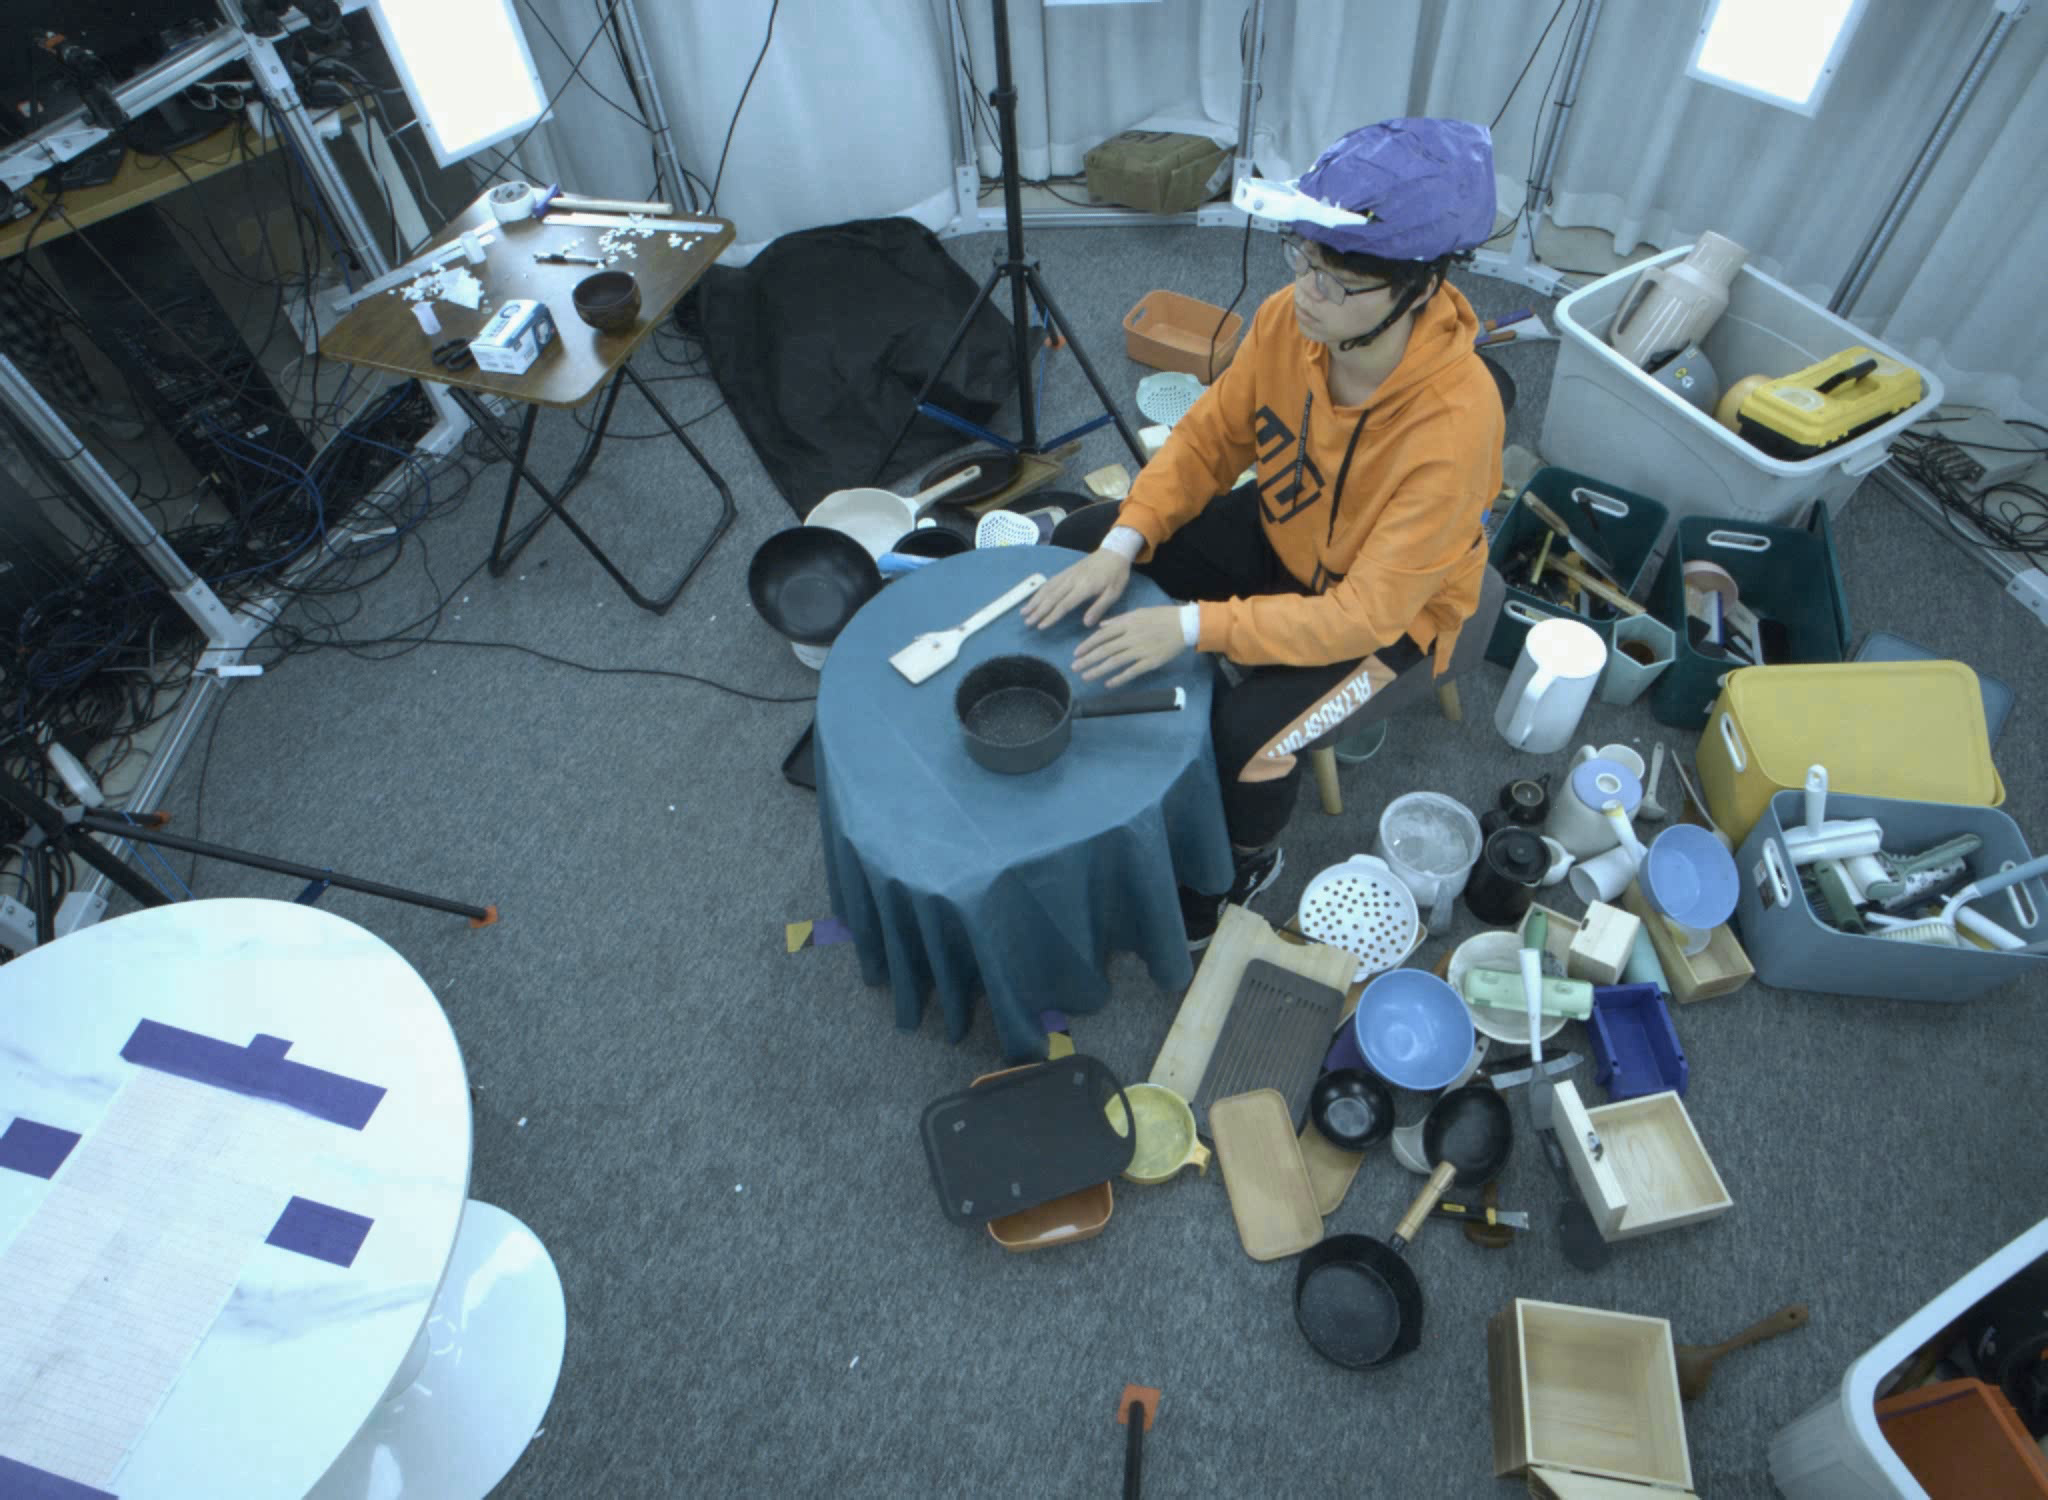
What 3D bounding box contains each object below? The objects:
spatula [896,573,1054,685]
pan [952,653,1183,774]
[{"bbox_3d":[-0.071,-0.198,1.939,0.295,0.011,0.070,-37,52,-17],"label":"spatula"},{"bbox_3d":[0.065,-0.051,1.769,0.327,0.087,0.170,2,56,6],"label":"pan"}]
